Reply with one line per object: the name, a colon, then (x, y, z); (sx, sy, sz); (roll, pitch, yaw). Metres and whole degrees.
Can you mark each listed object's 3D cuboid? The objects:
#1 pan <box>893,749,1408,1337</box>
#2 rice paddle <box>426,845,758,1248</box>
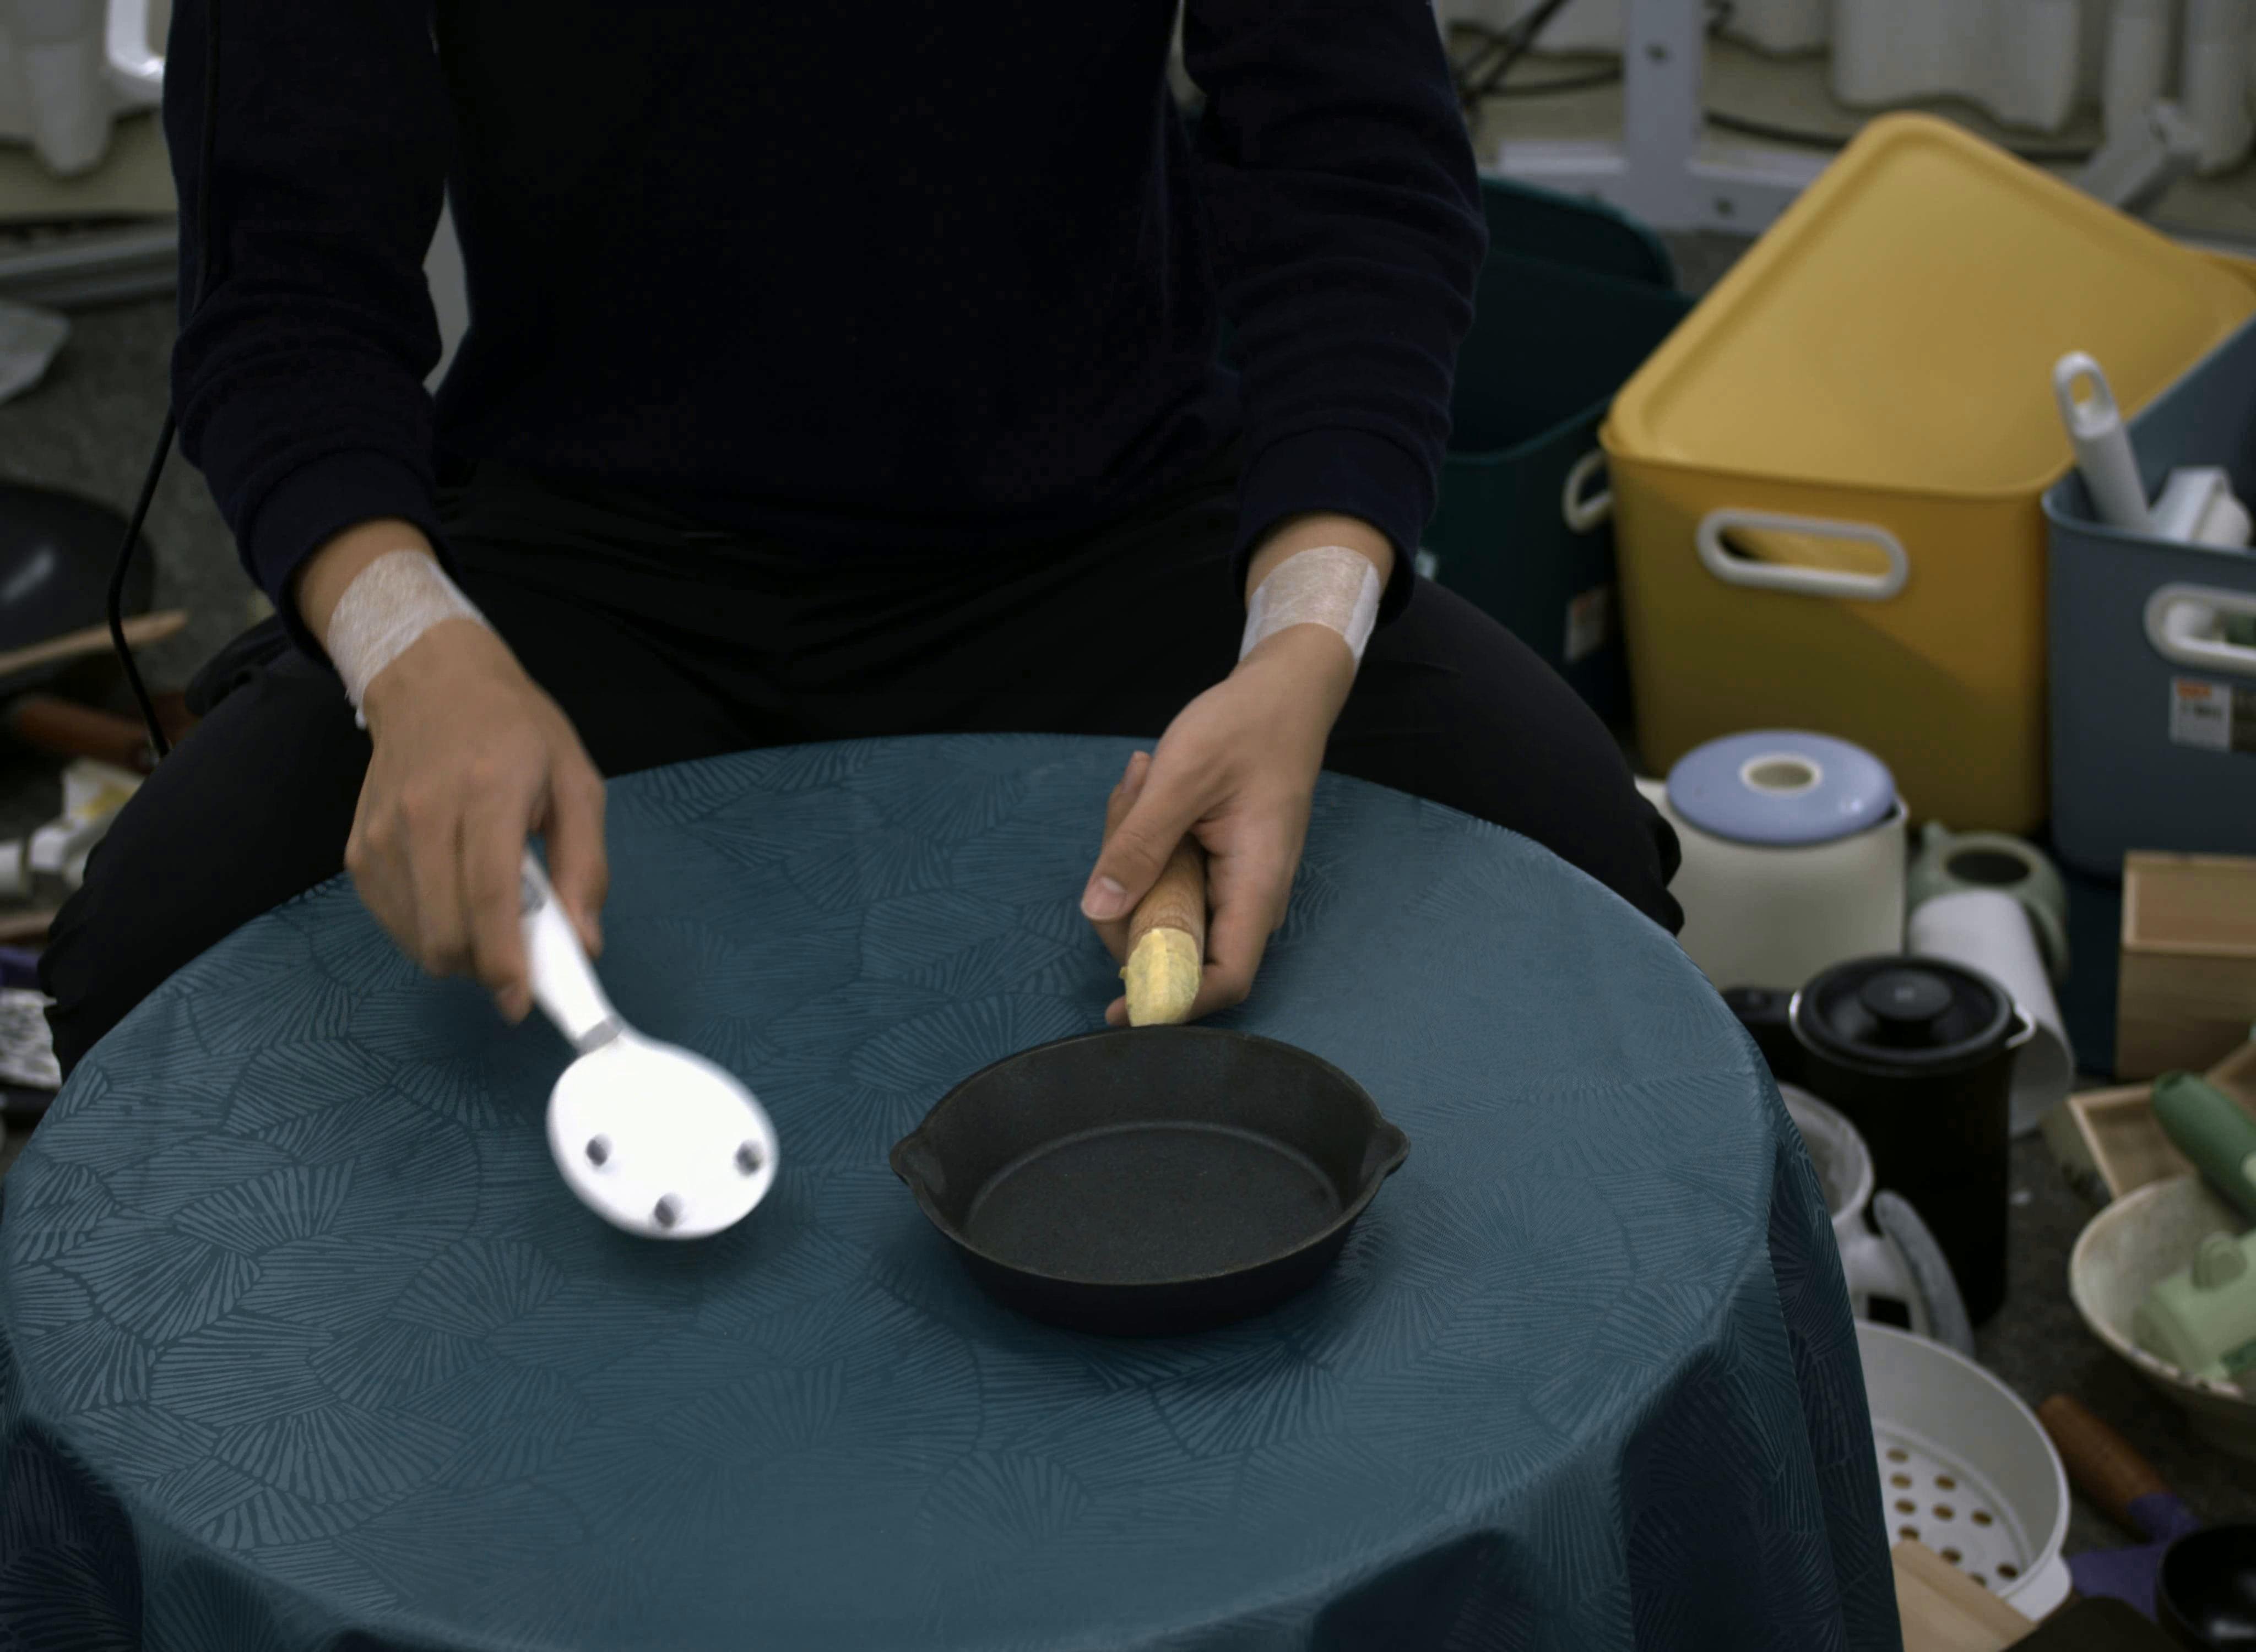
pan: (0.014, 0.071, 1.903); (0.168, 0.049, 0.330); (0, 29, 5)
rice paddle: (-0.184, 0.075, 1.885); (0.069, 0.029, 0.207); (-17, 41, -21)
